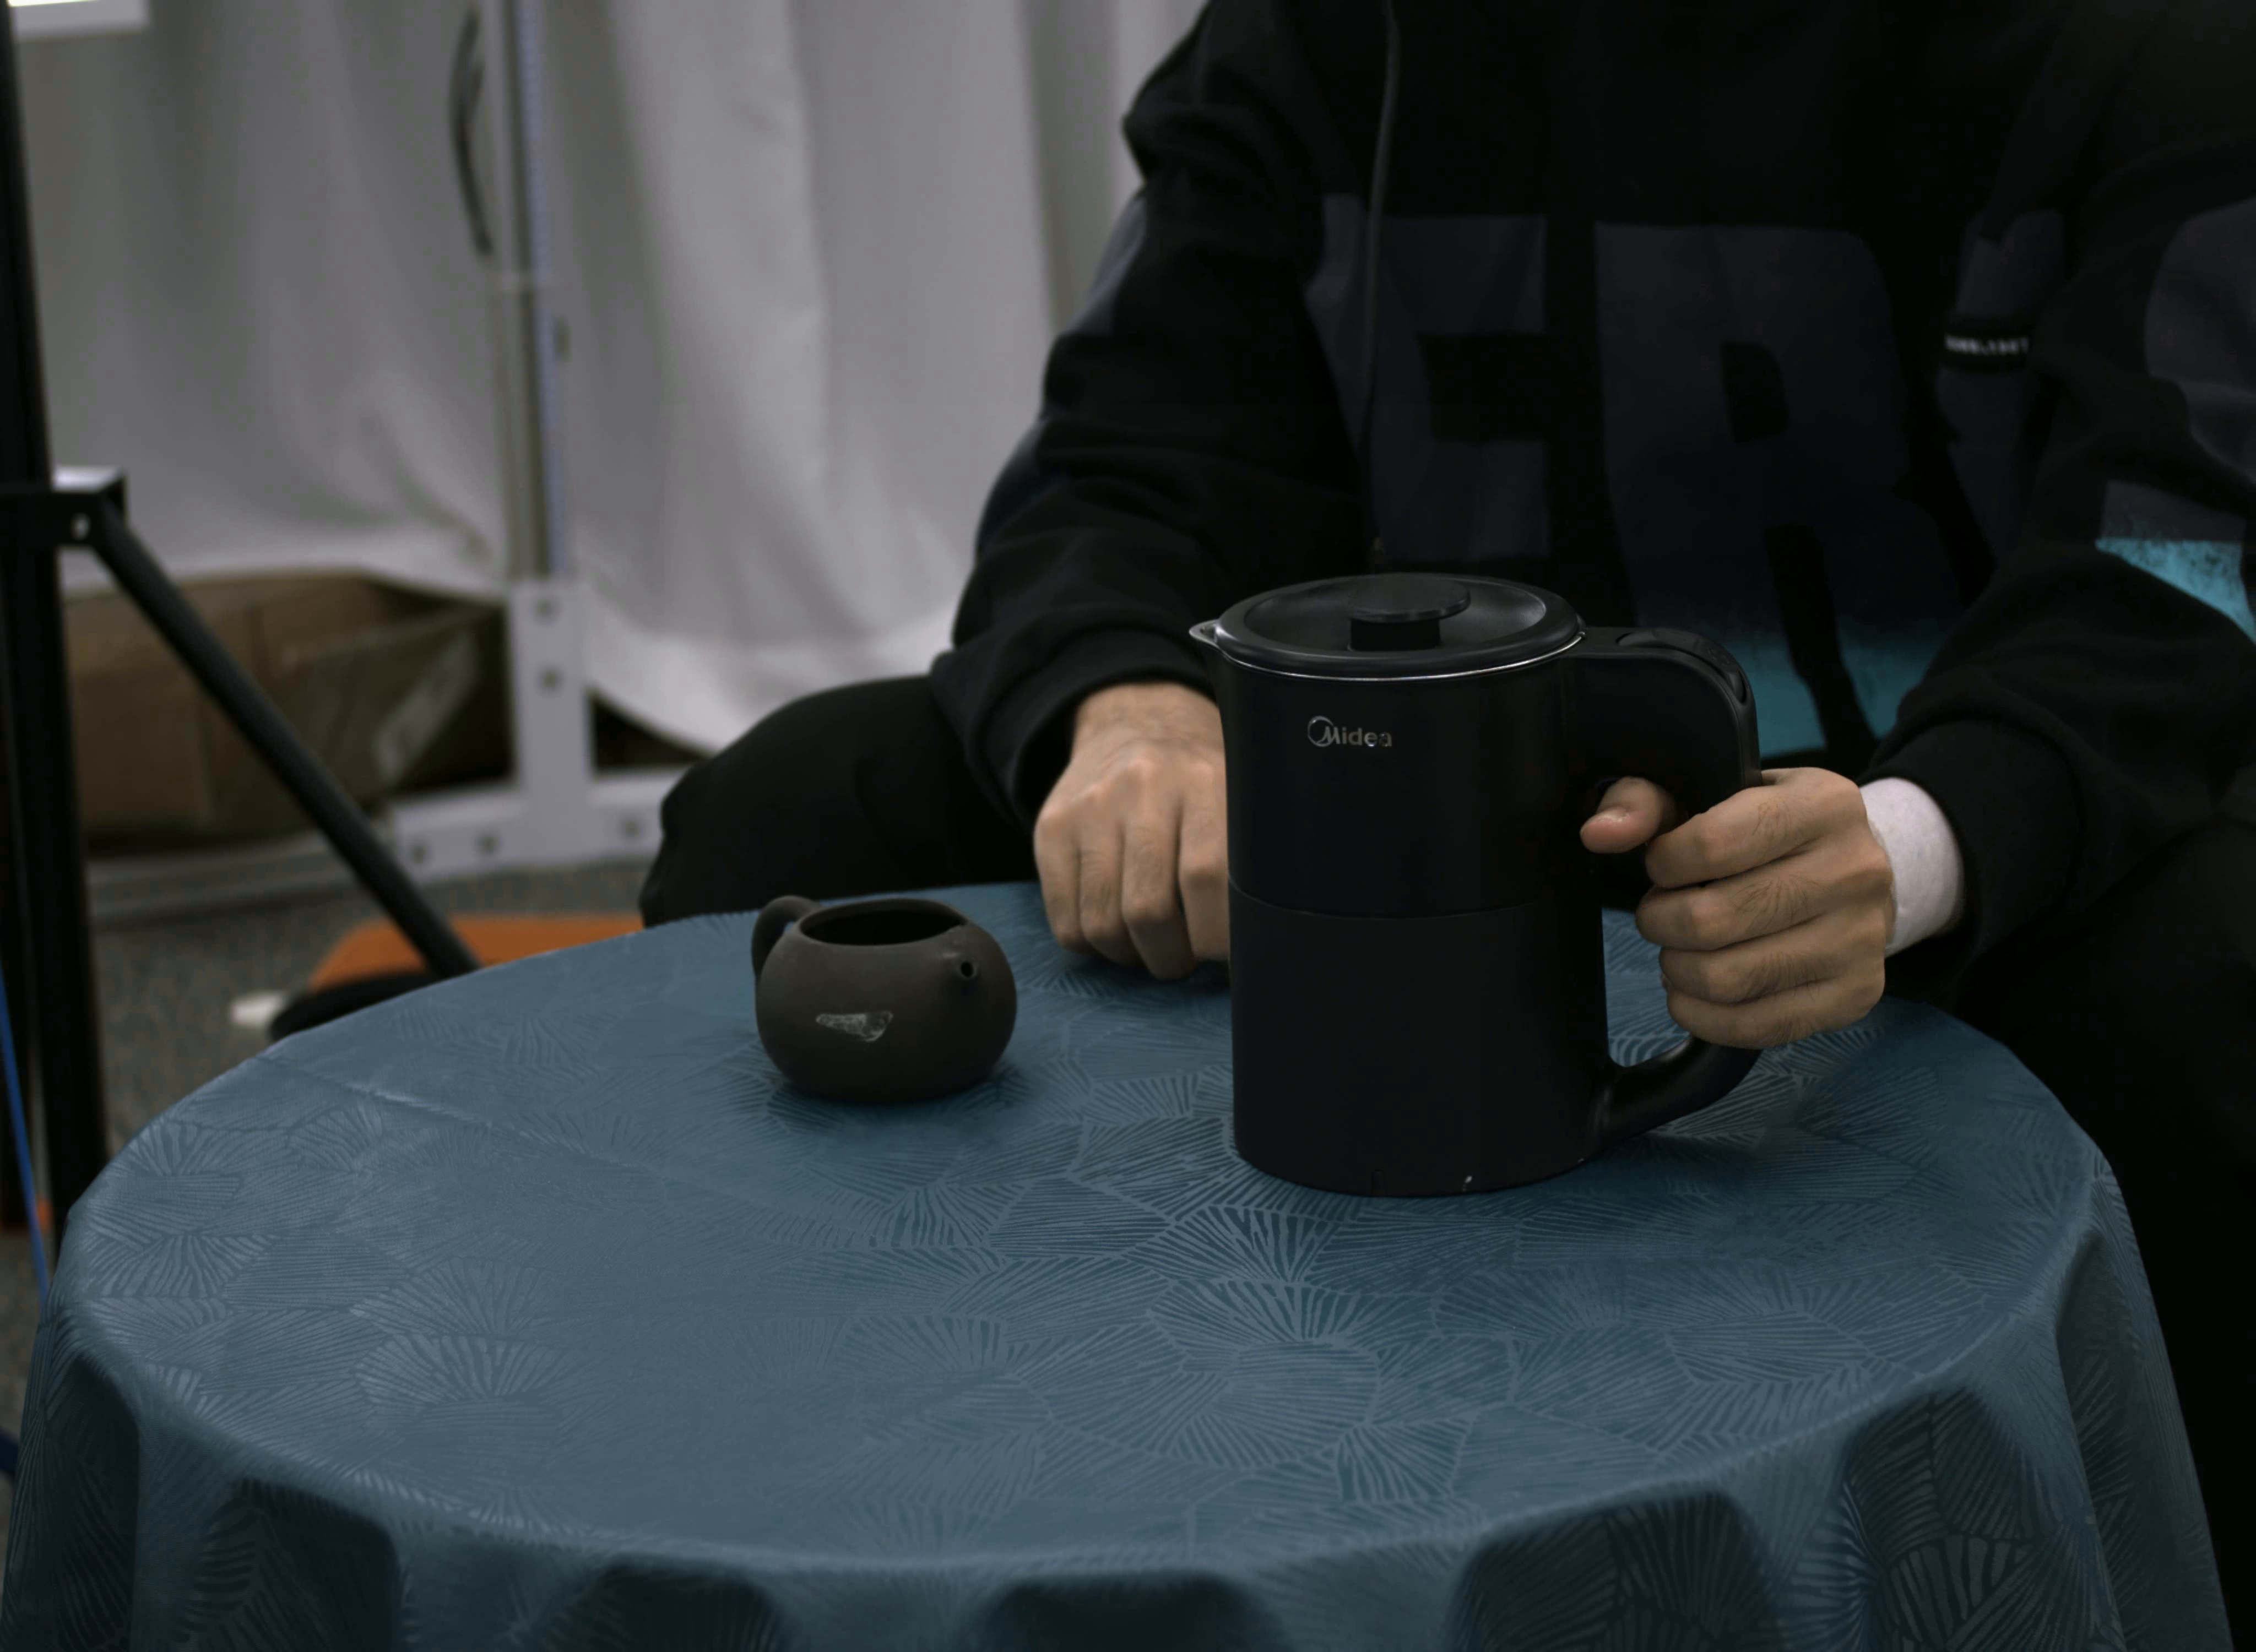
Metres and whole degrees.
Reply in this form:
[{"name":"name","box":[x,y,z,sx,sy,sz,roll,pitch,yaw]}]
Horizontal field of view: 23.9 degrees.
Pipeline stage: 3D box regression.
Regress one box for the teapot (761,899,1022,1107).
[{"name":"teapot","box":[-0.081,0.053,1.676,0.081,0.053,0.117,-11,21,-31]}]

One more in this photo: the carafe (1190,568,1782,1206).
[{"name":"carafe","box":[0.105,0.013,1.563,0.173,0.173,0.113,-1,13,17]}]
